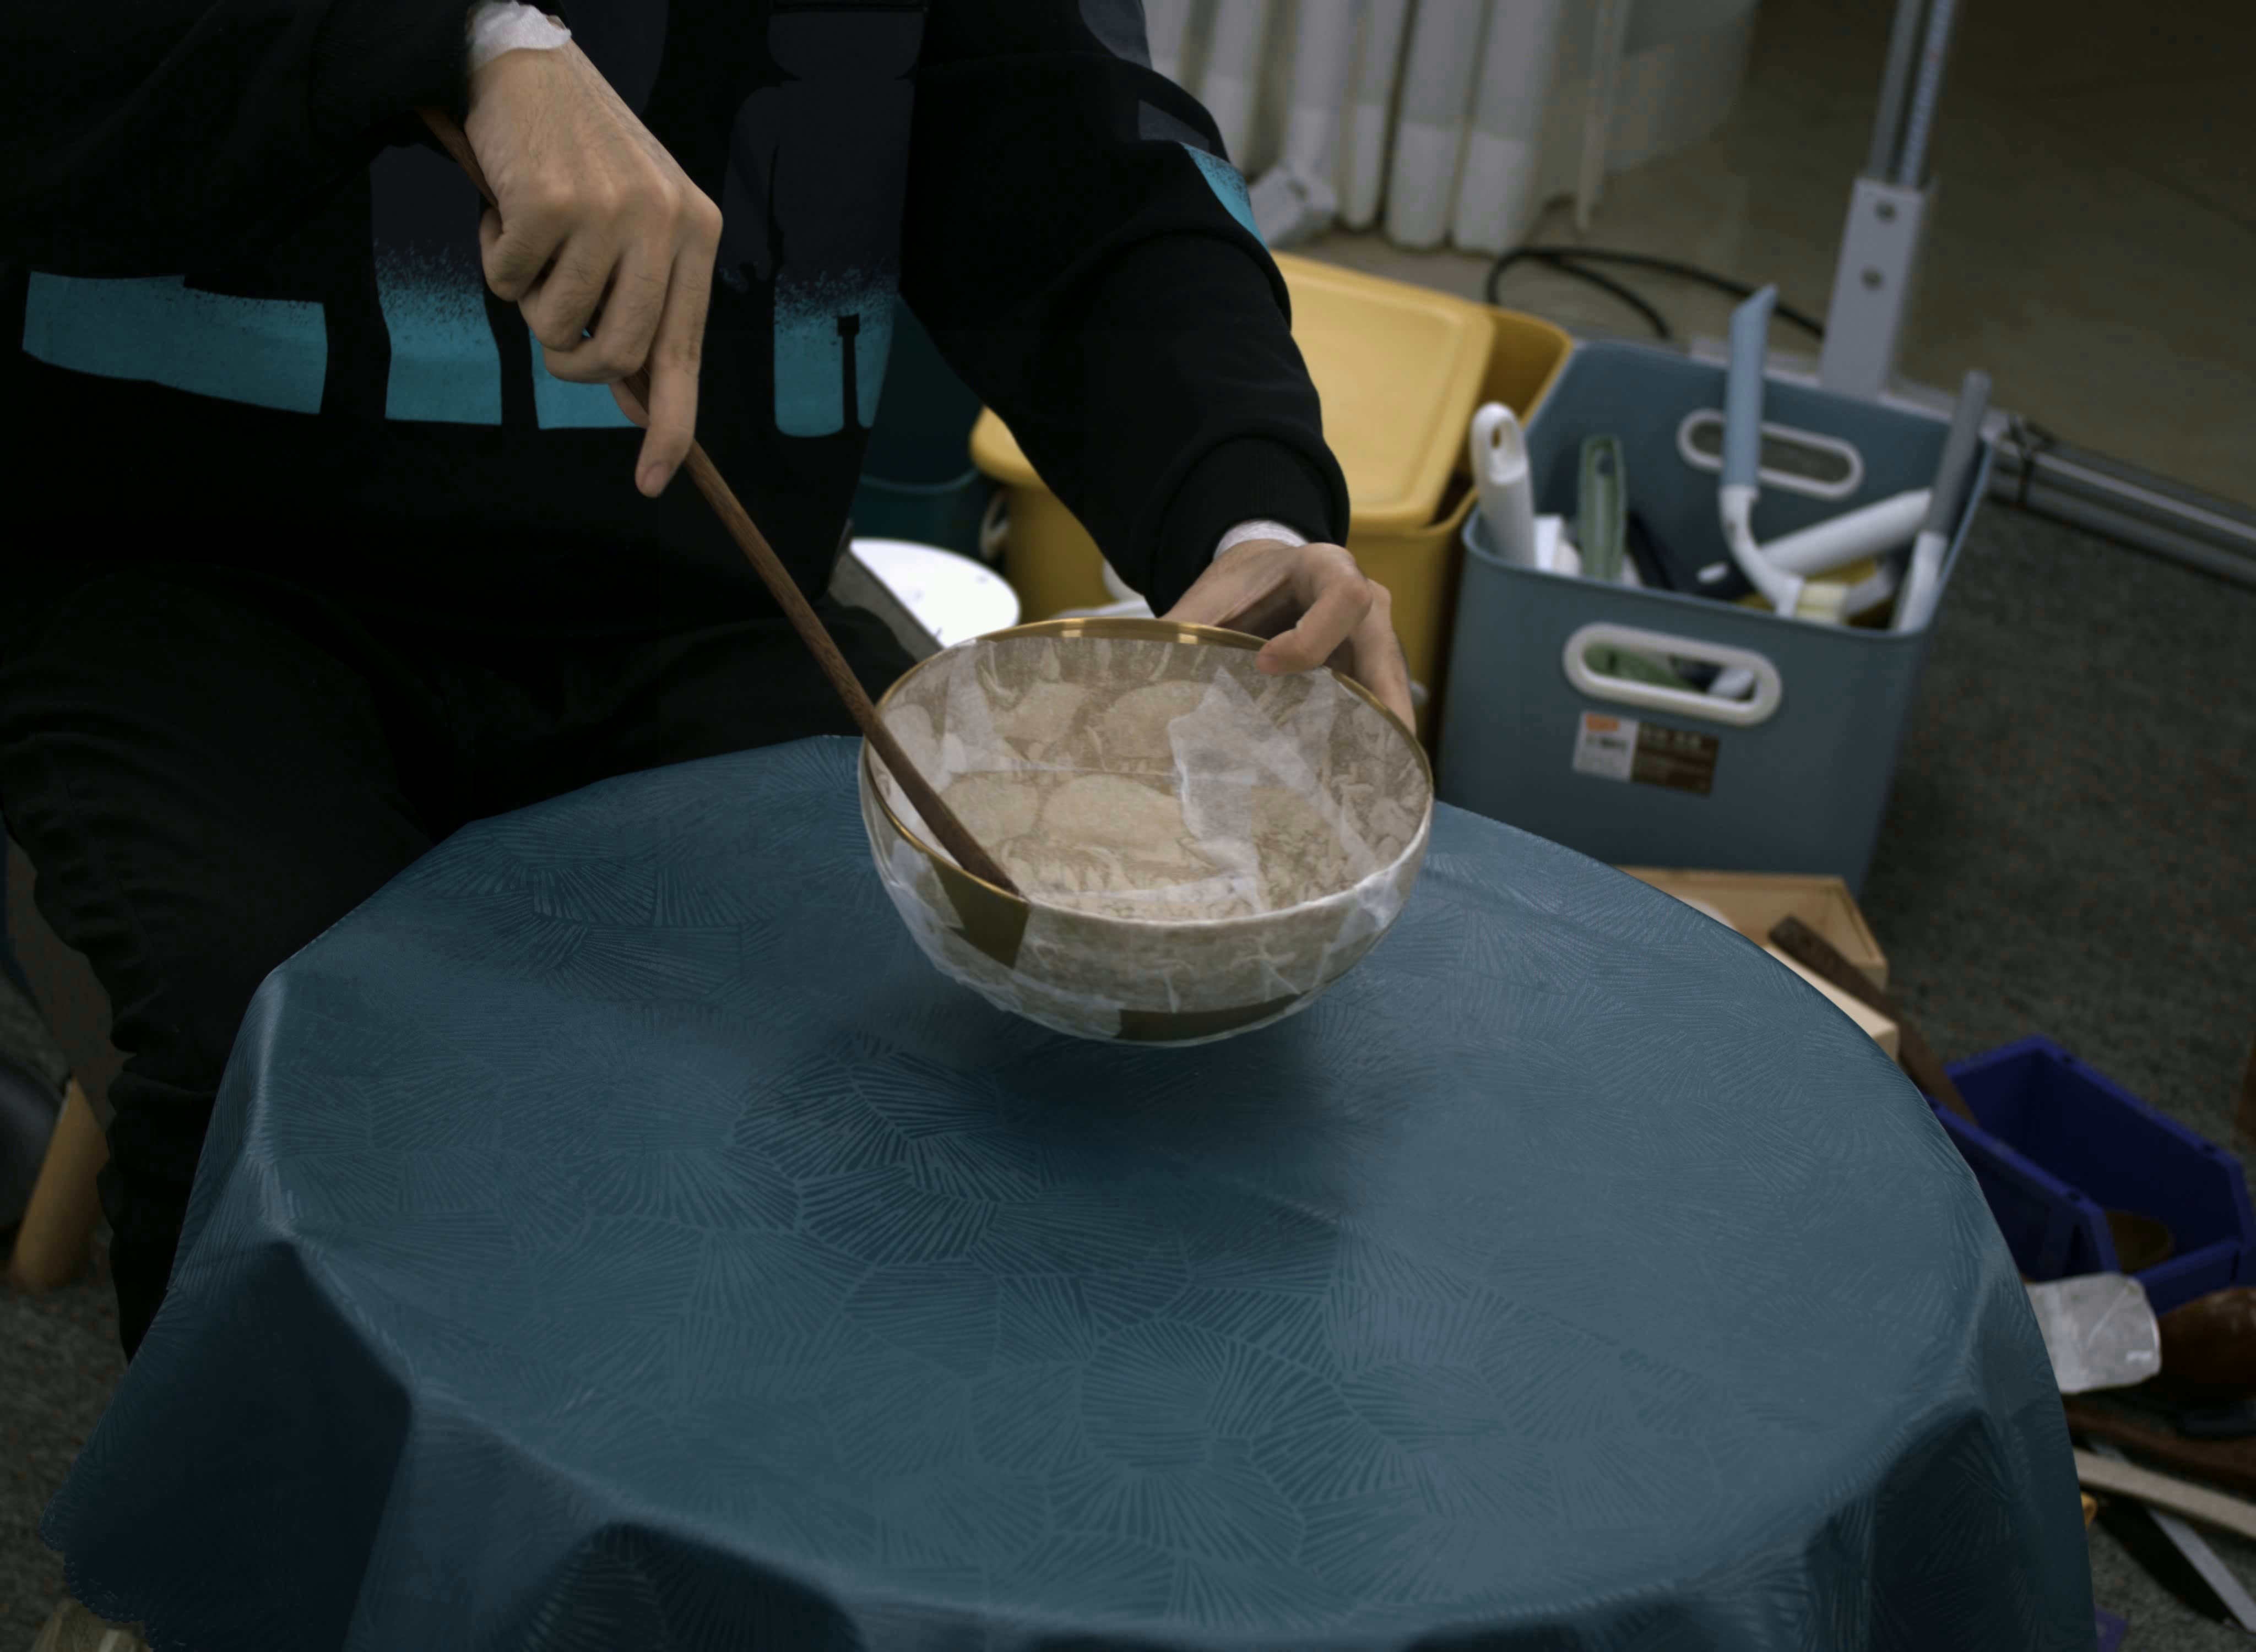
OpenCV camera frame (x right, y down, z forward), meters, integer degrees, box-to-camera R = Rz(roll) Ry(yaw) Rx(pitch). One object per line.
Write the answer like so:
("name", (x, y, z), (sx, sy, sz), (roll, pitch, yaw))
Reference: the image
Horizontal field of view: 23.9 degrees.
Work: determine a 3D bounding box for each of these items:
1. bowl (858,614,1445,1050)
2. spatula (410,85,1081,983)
("bowl", (0.007, 0.014, 1.863), (0.214, 0.094, 0.216), (2, 31, -1))
("spatula", (-0.129, -0.098, 1.819), (0.016, 0.386, 0.096), (-35, -1, -1))
